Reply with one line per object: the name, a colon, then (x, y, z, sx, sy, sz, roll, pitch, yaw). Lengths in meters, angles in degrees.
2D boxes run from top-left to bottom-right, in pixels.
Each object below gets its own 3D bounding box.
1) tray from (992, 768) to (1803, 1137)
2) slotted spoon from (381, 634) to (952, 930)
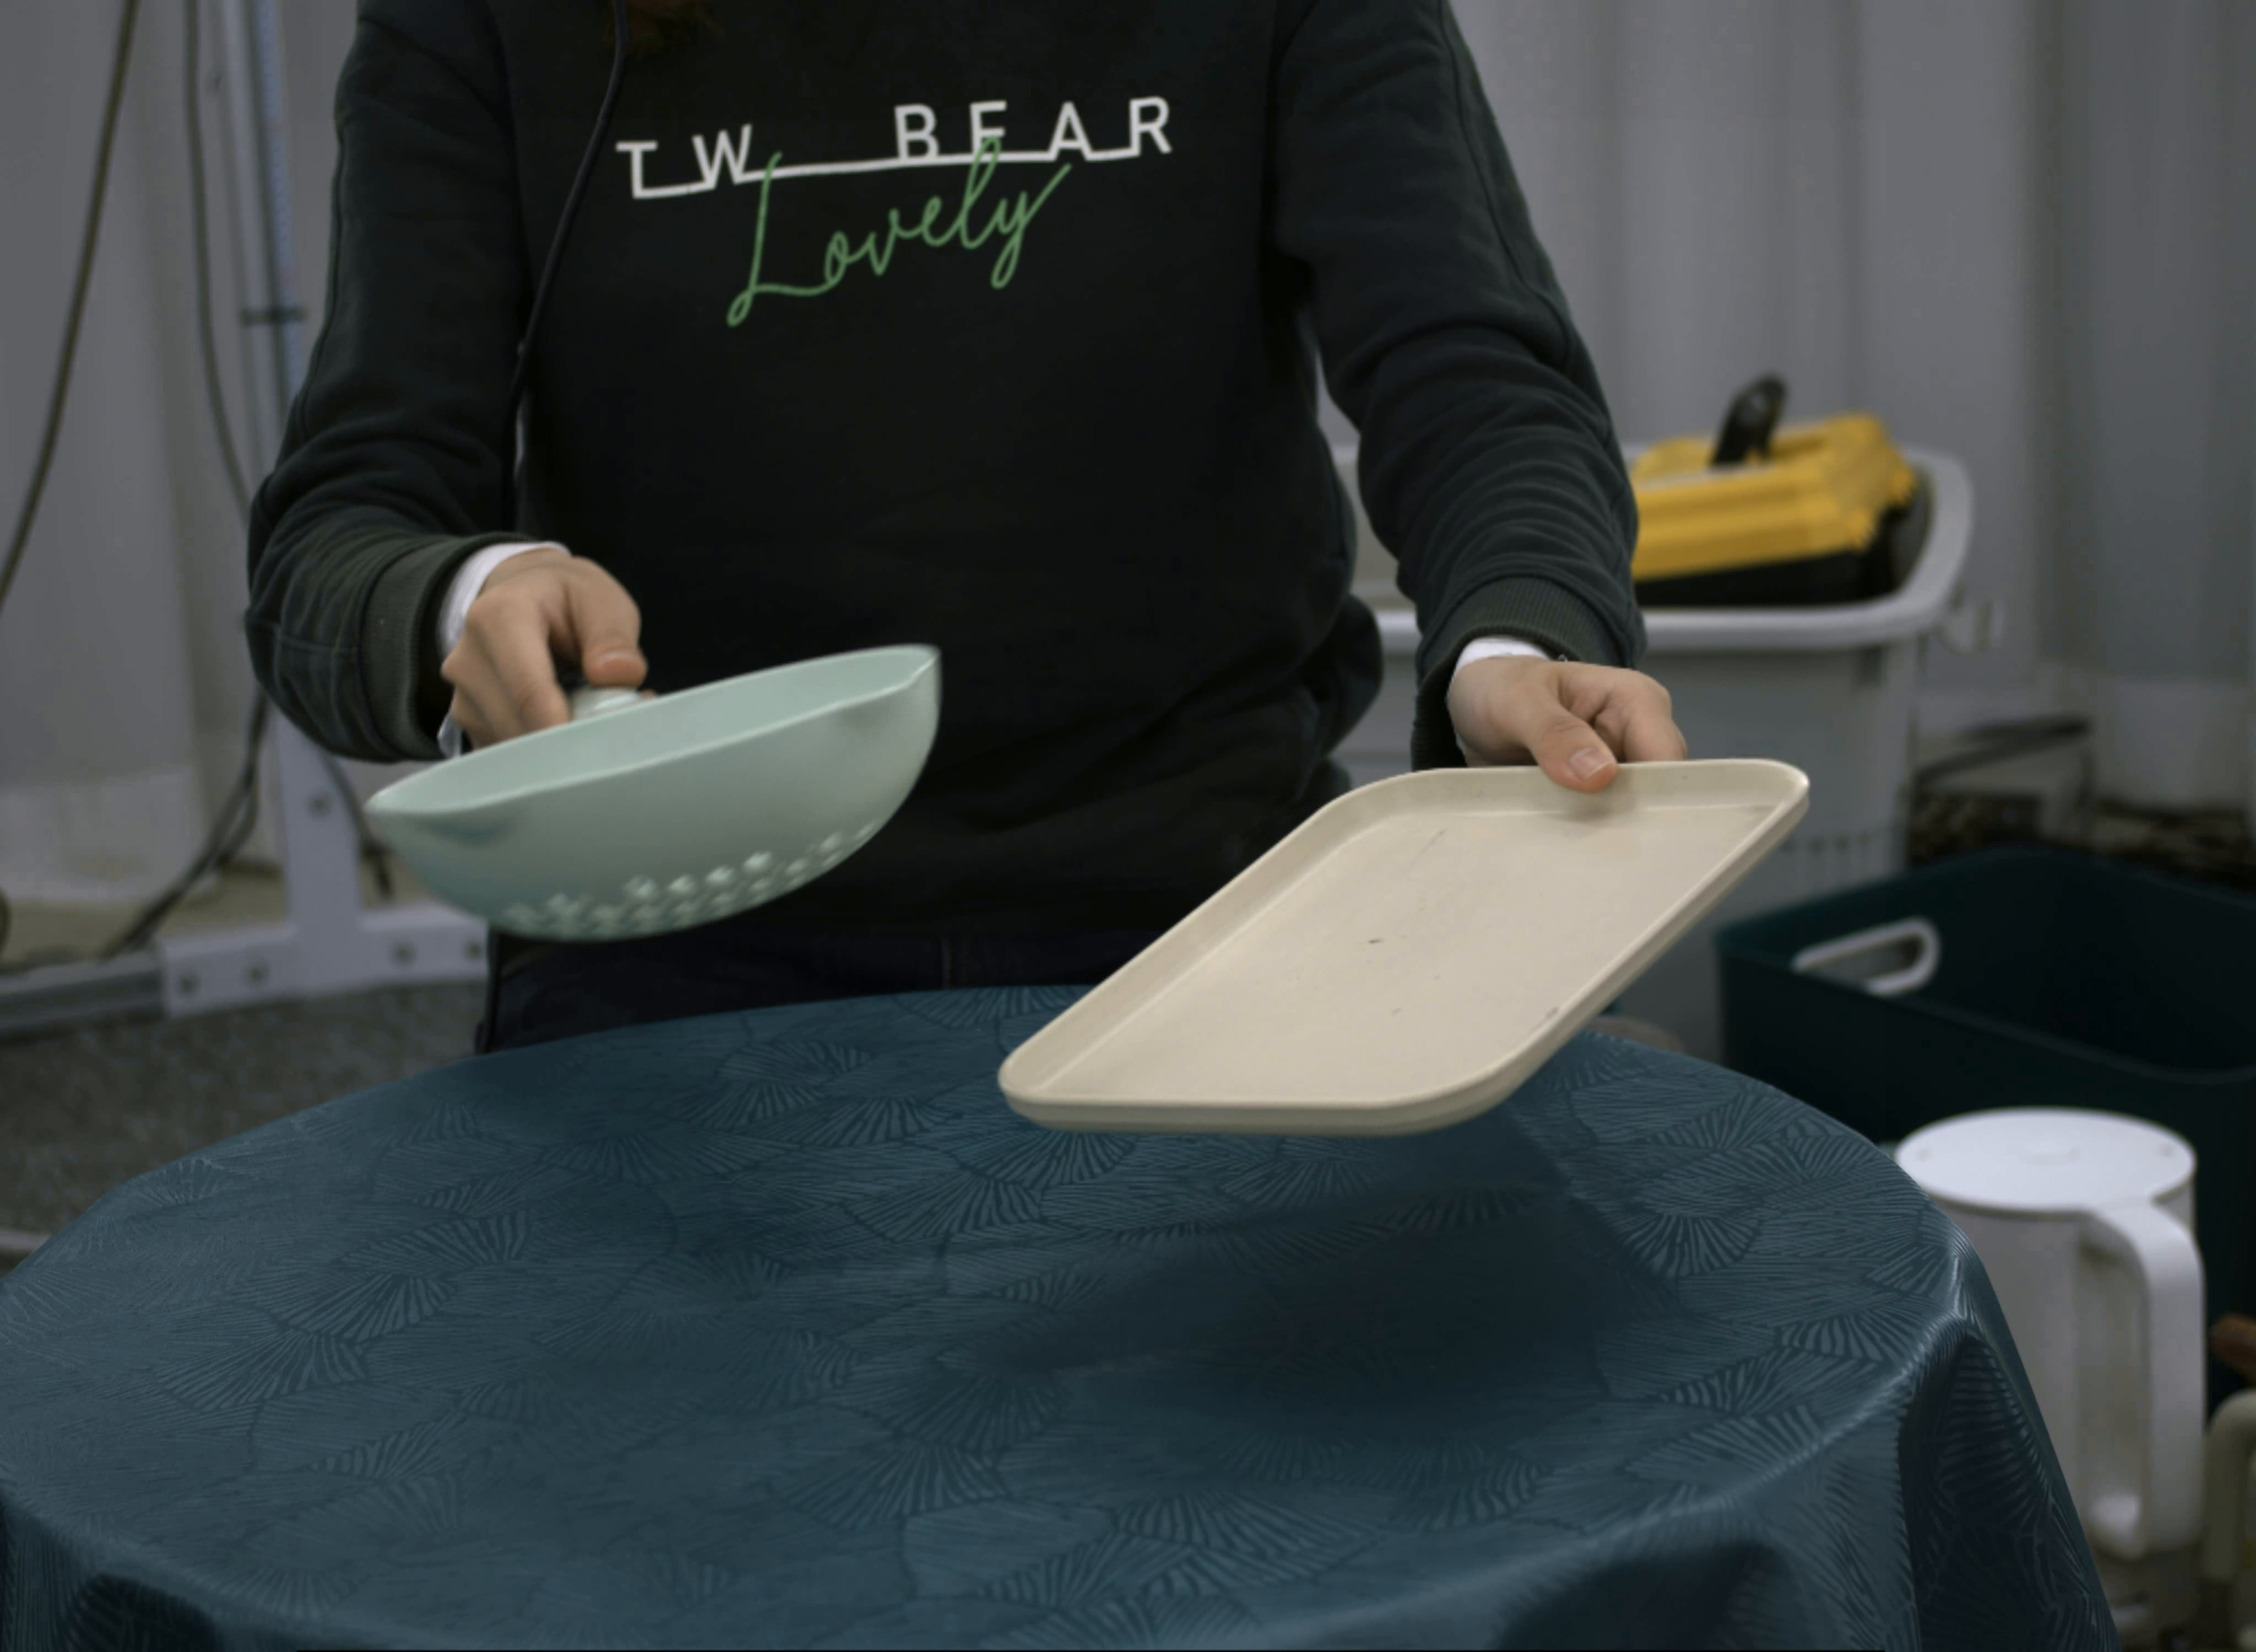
tray: (0.082, 0.037, 1.588, 0.171, 0.017, 0.240, -2, 22, 35)
slotted spoon: (-0.148, -0.027, 1.665, 0.169, 0.075, 0.361, -15, 15, -10)
